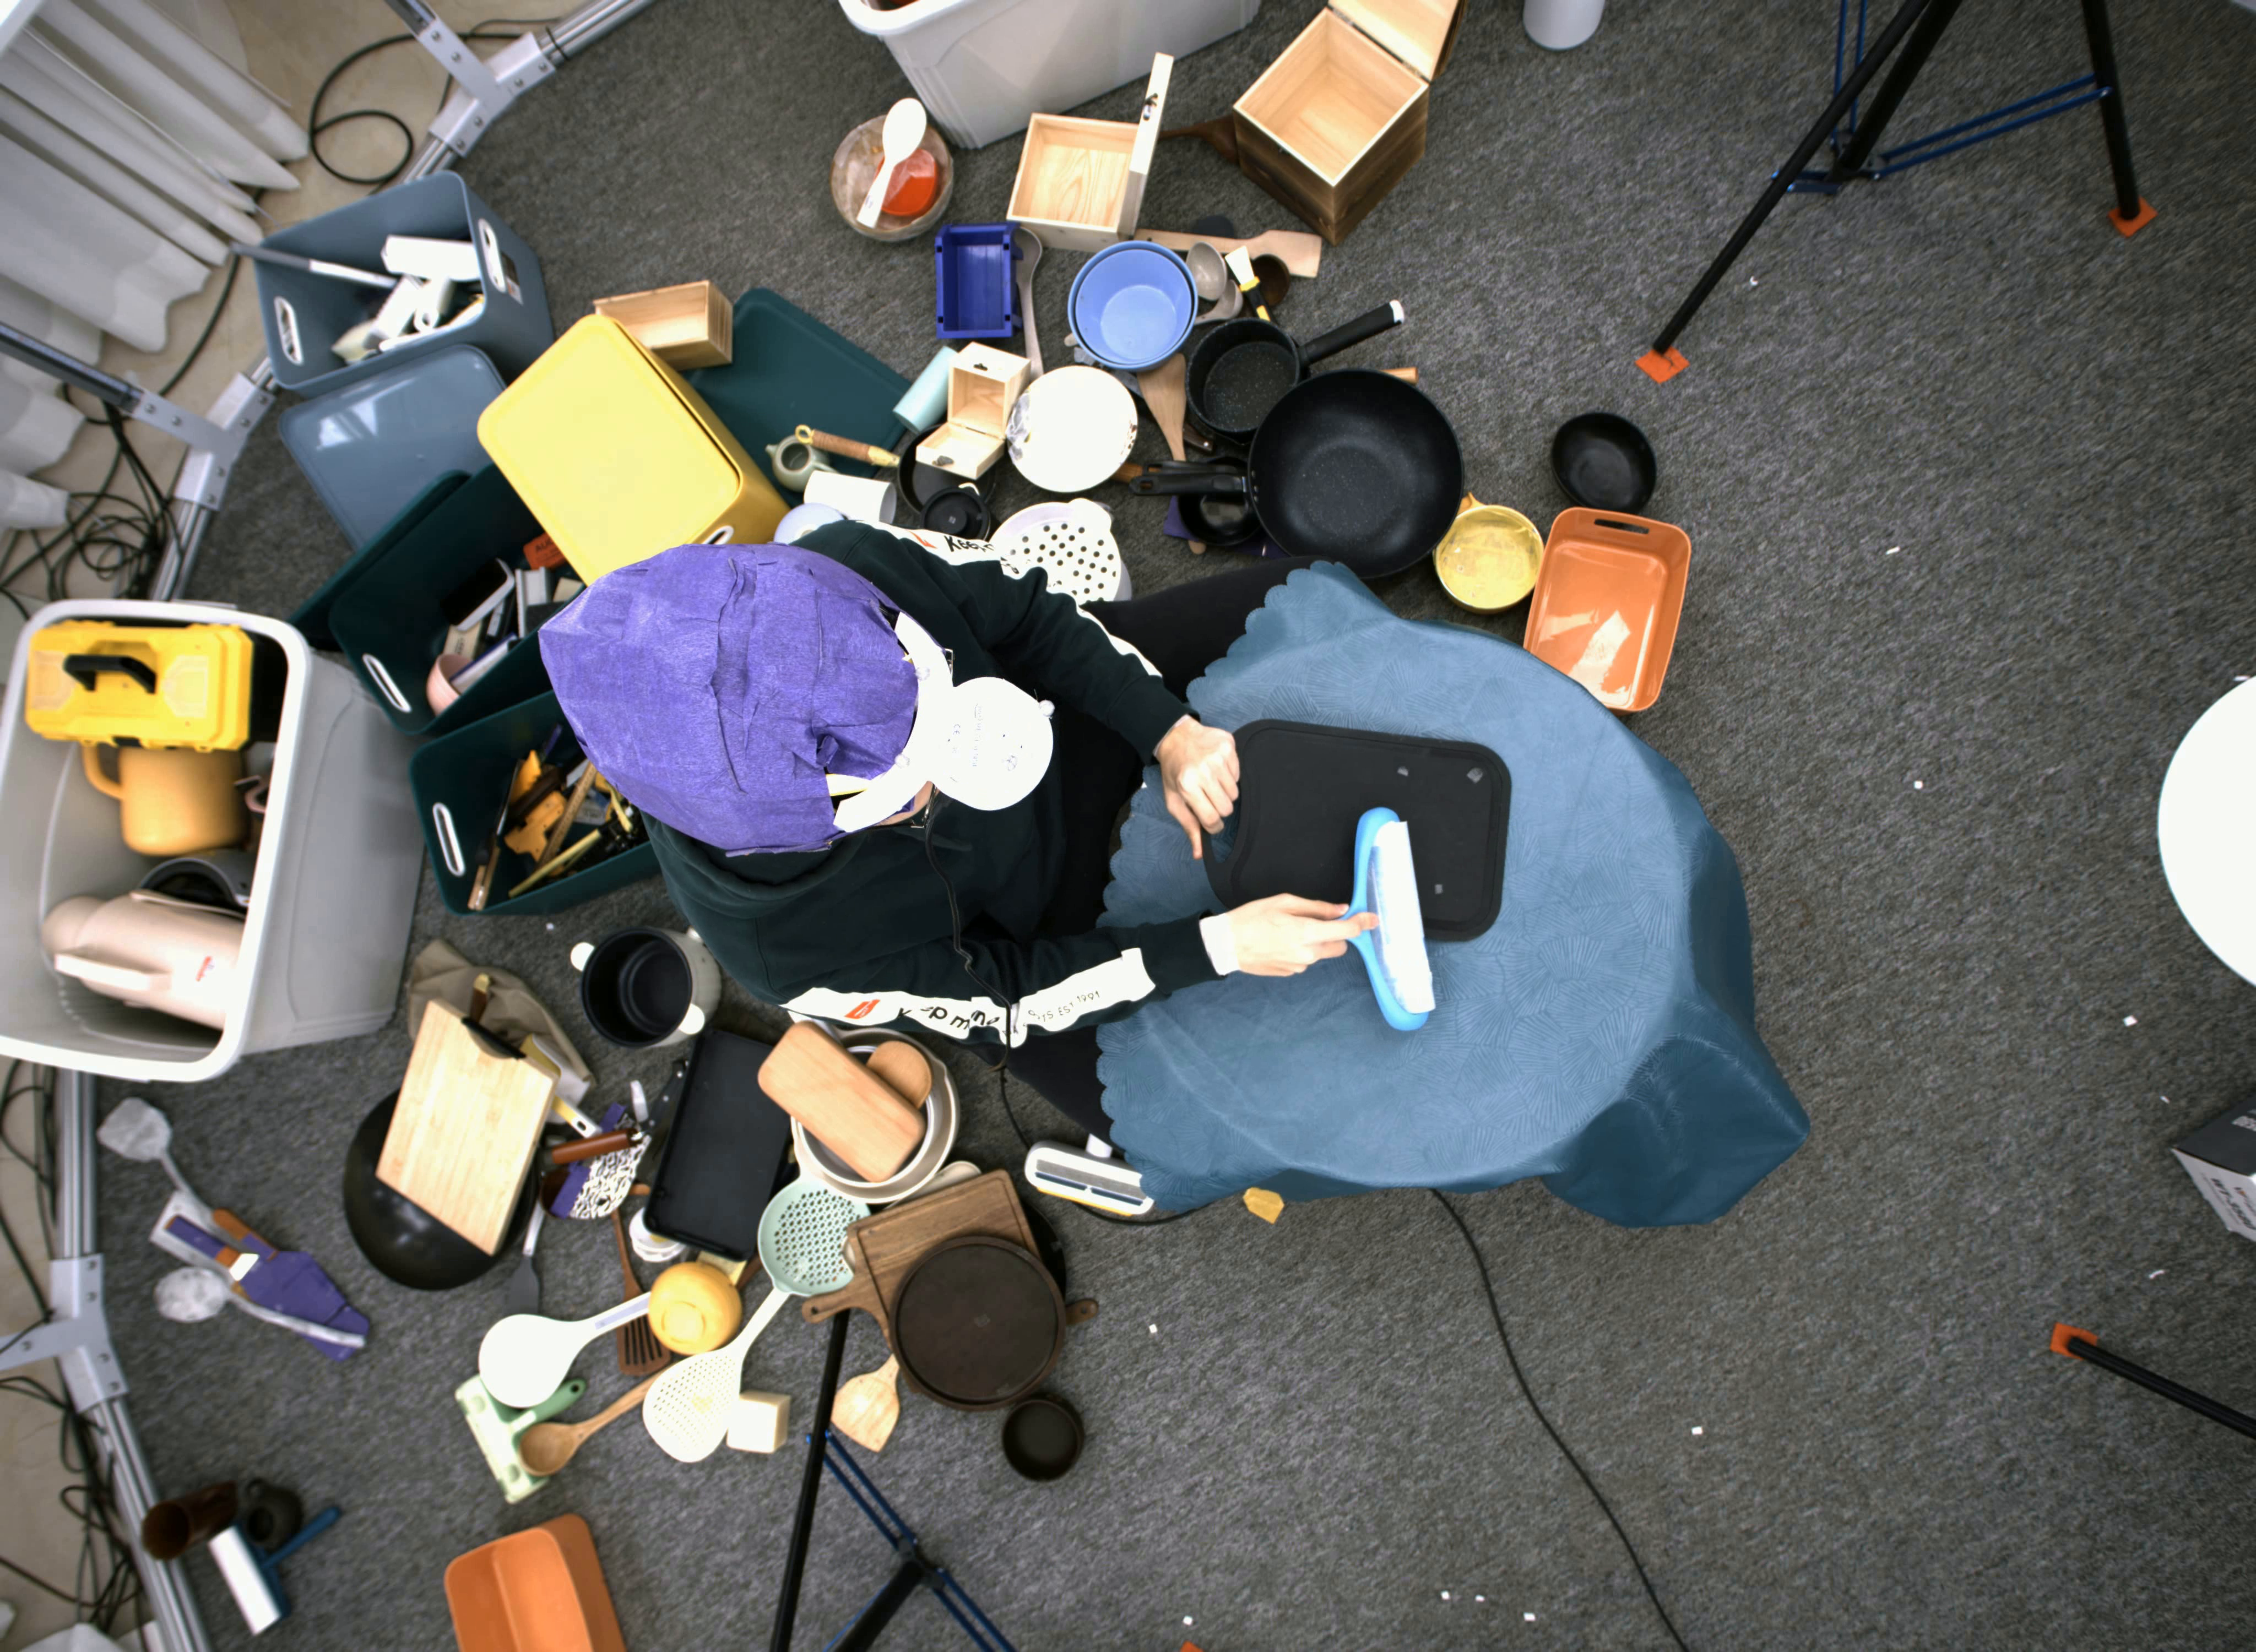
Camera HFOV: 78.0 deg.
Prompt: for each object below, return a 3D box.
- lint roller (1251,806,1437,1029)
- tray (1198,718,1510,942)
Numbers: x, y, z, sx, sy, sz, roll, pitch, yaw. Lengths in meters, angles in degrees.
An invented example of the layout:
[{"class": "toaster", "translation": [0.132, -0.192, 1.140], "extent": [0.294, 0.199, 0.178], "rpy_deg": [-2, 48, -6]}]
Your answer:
[{"class": "lint roller", "translation": [0.218, 0.102, 1.389], "extent": [0.179, 0.068, 0.229], "rpy_deg": [-11, 92, -17]}, {"class": "tray", "translation": [0.234, 0.003, 1.427], "extent": [0.325, 0.010, 0.210], "rpy_deg": [7, 89, -3]}]
